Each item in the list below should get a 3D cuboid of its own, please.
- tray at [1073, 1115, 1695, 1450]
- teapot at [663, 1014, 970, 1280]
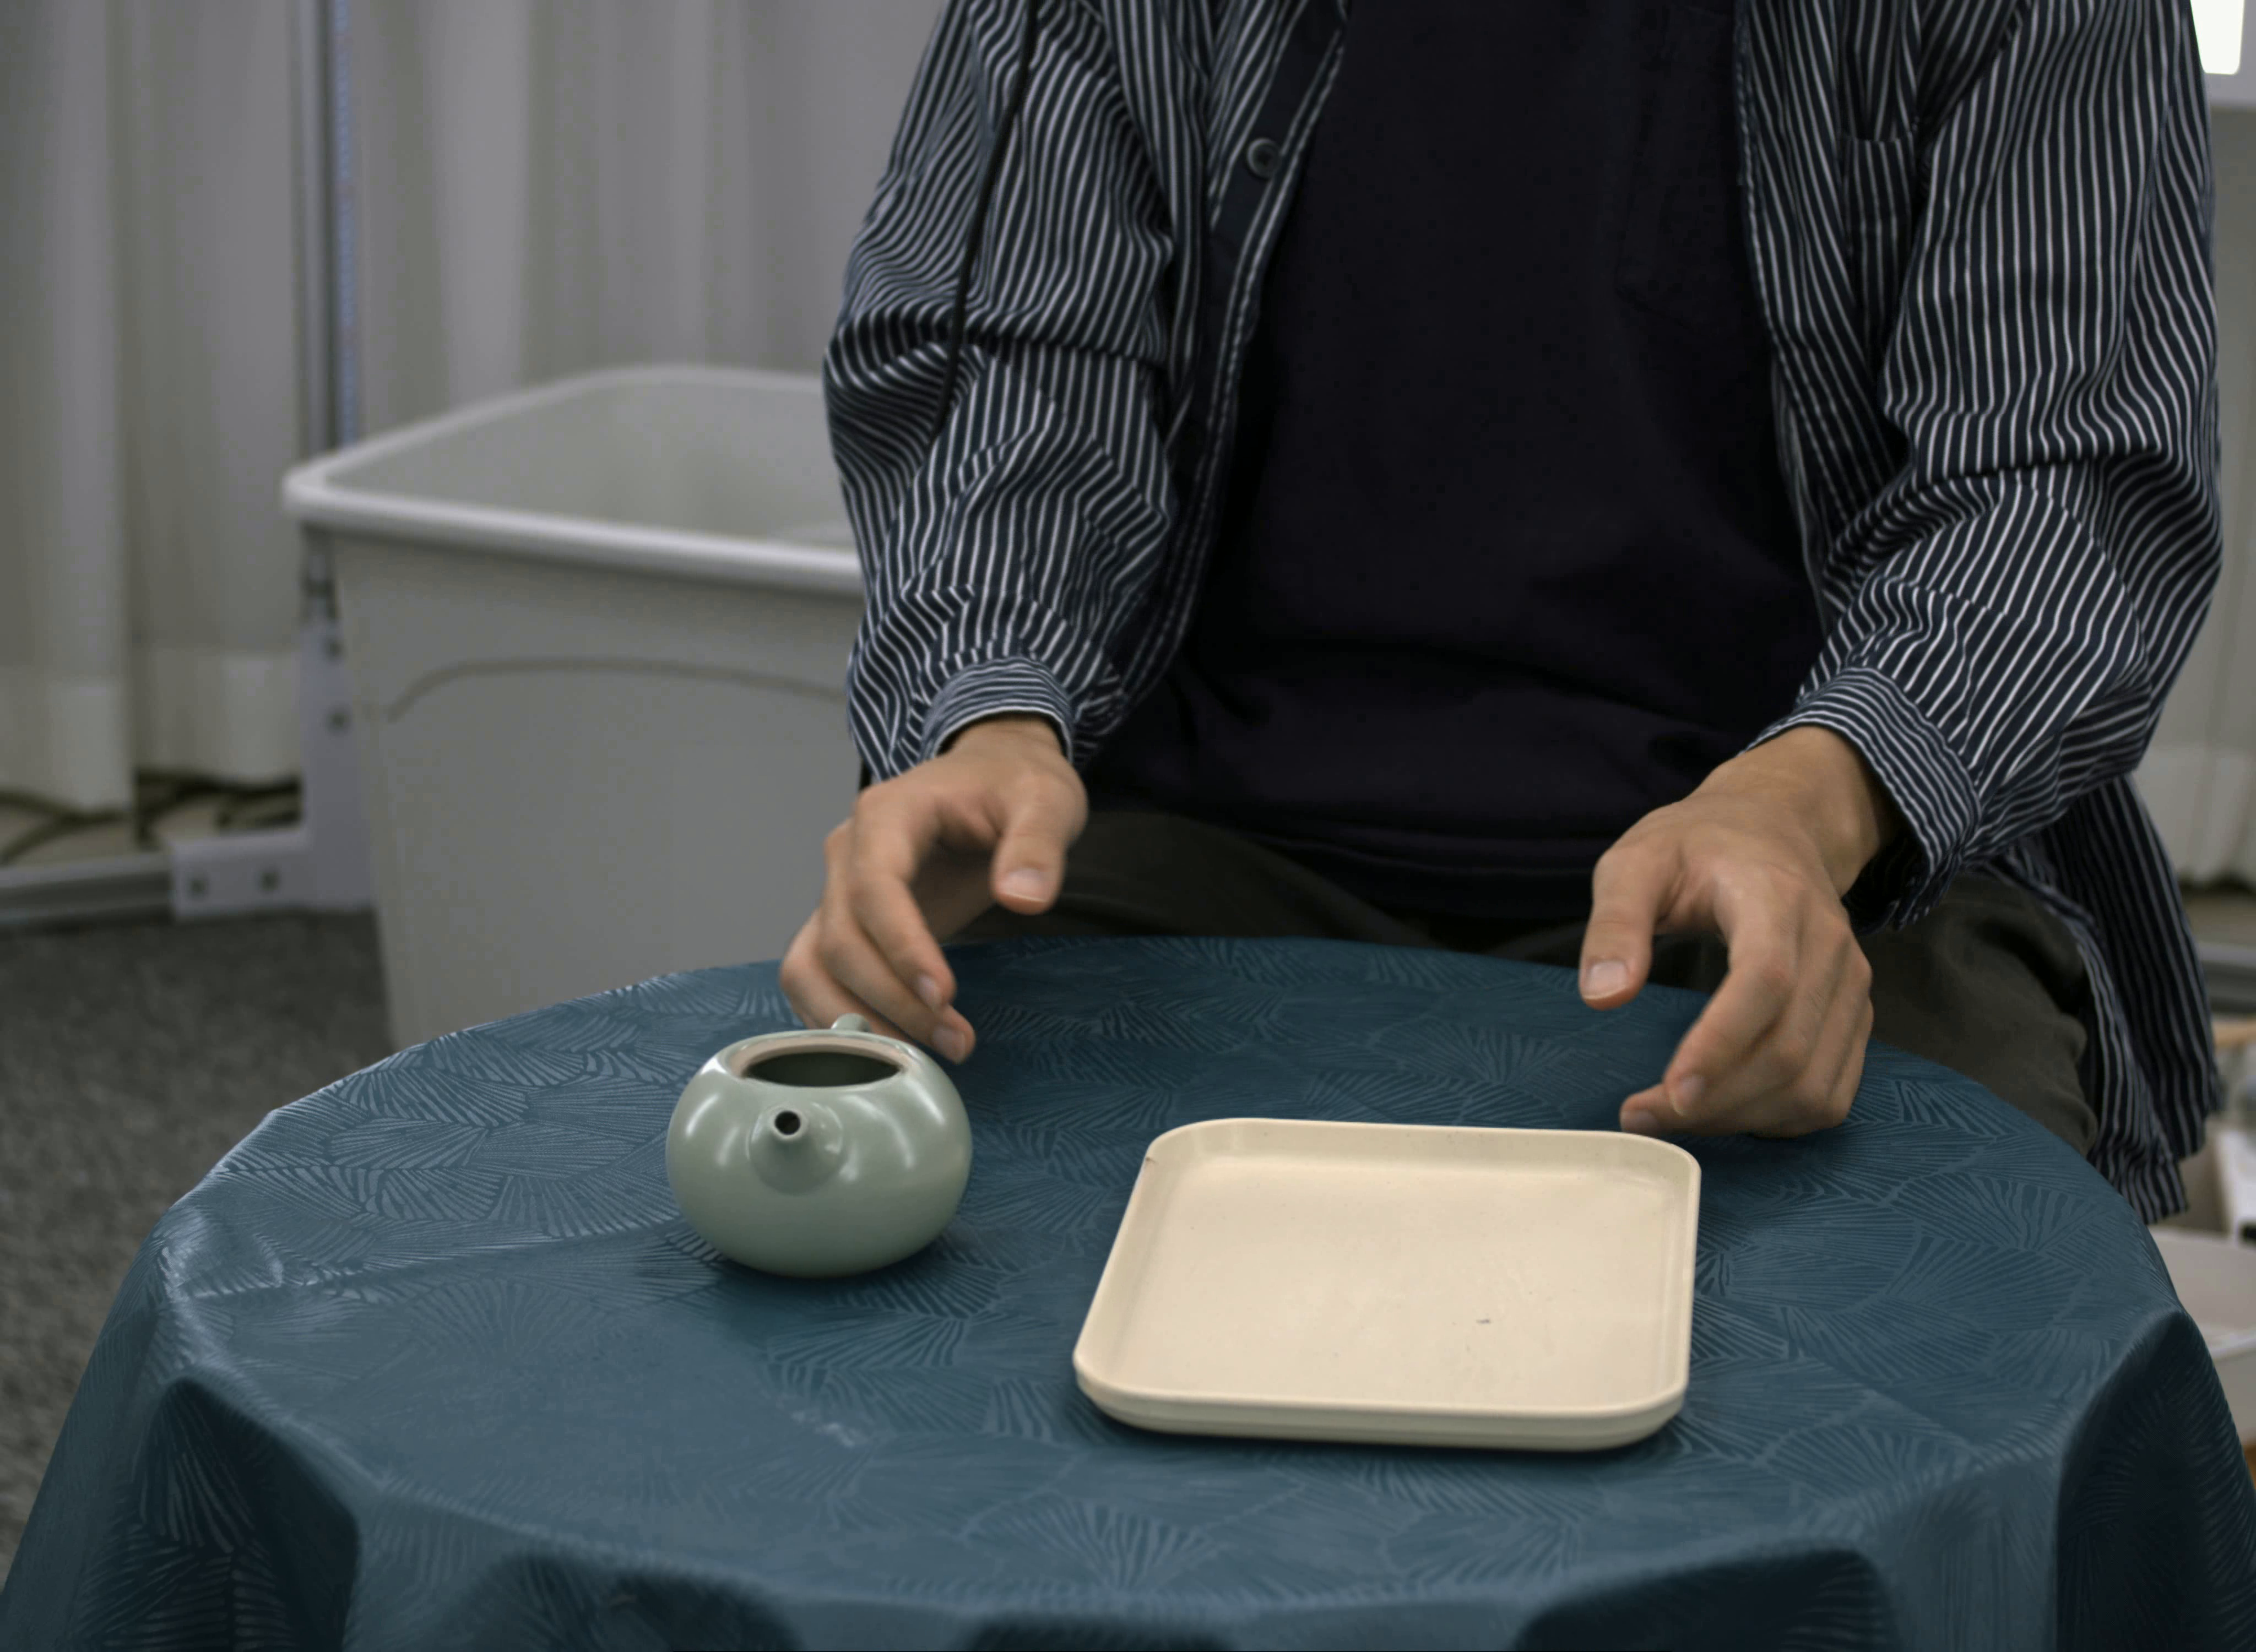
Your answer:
[{"bbox_3d":[0.079,0.131,1.530,0.170,0.017,0.239,3,15,6],"label":"tray"},{"bbox_3d":[-0.091,0.096,1.578,0.091,0.061,0.128,2,15,12],"label":"teapot"}]
